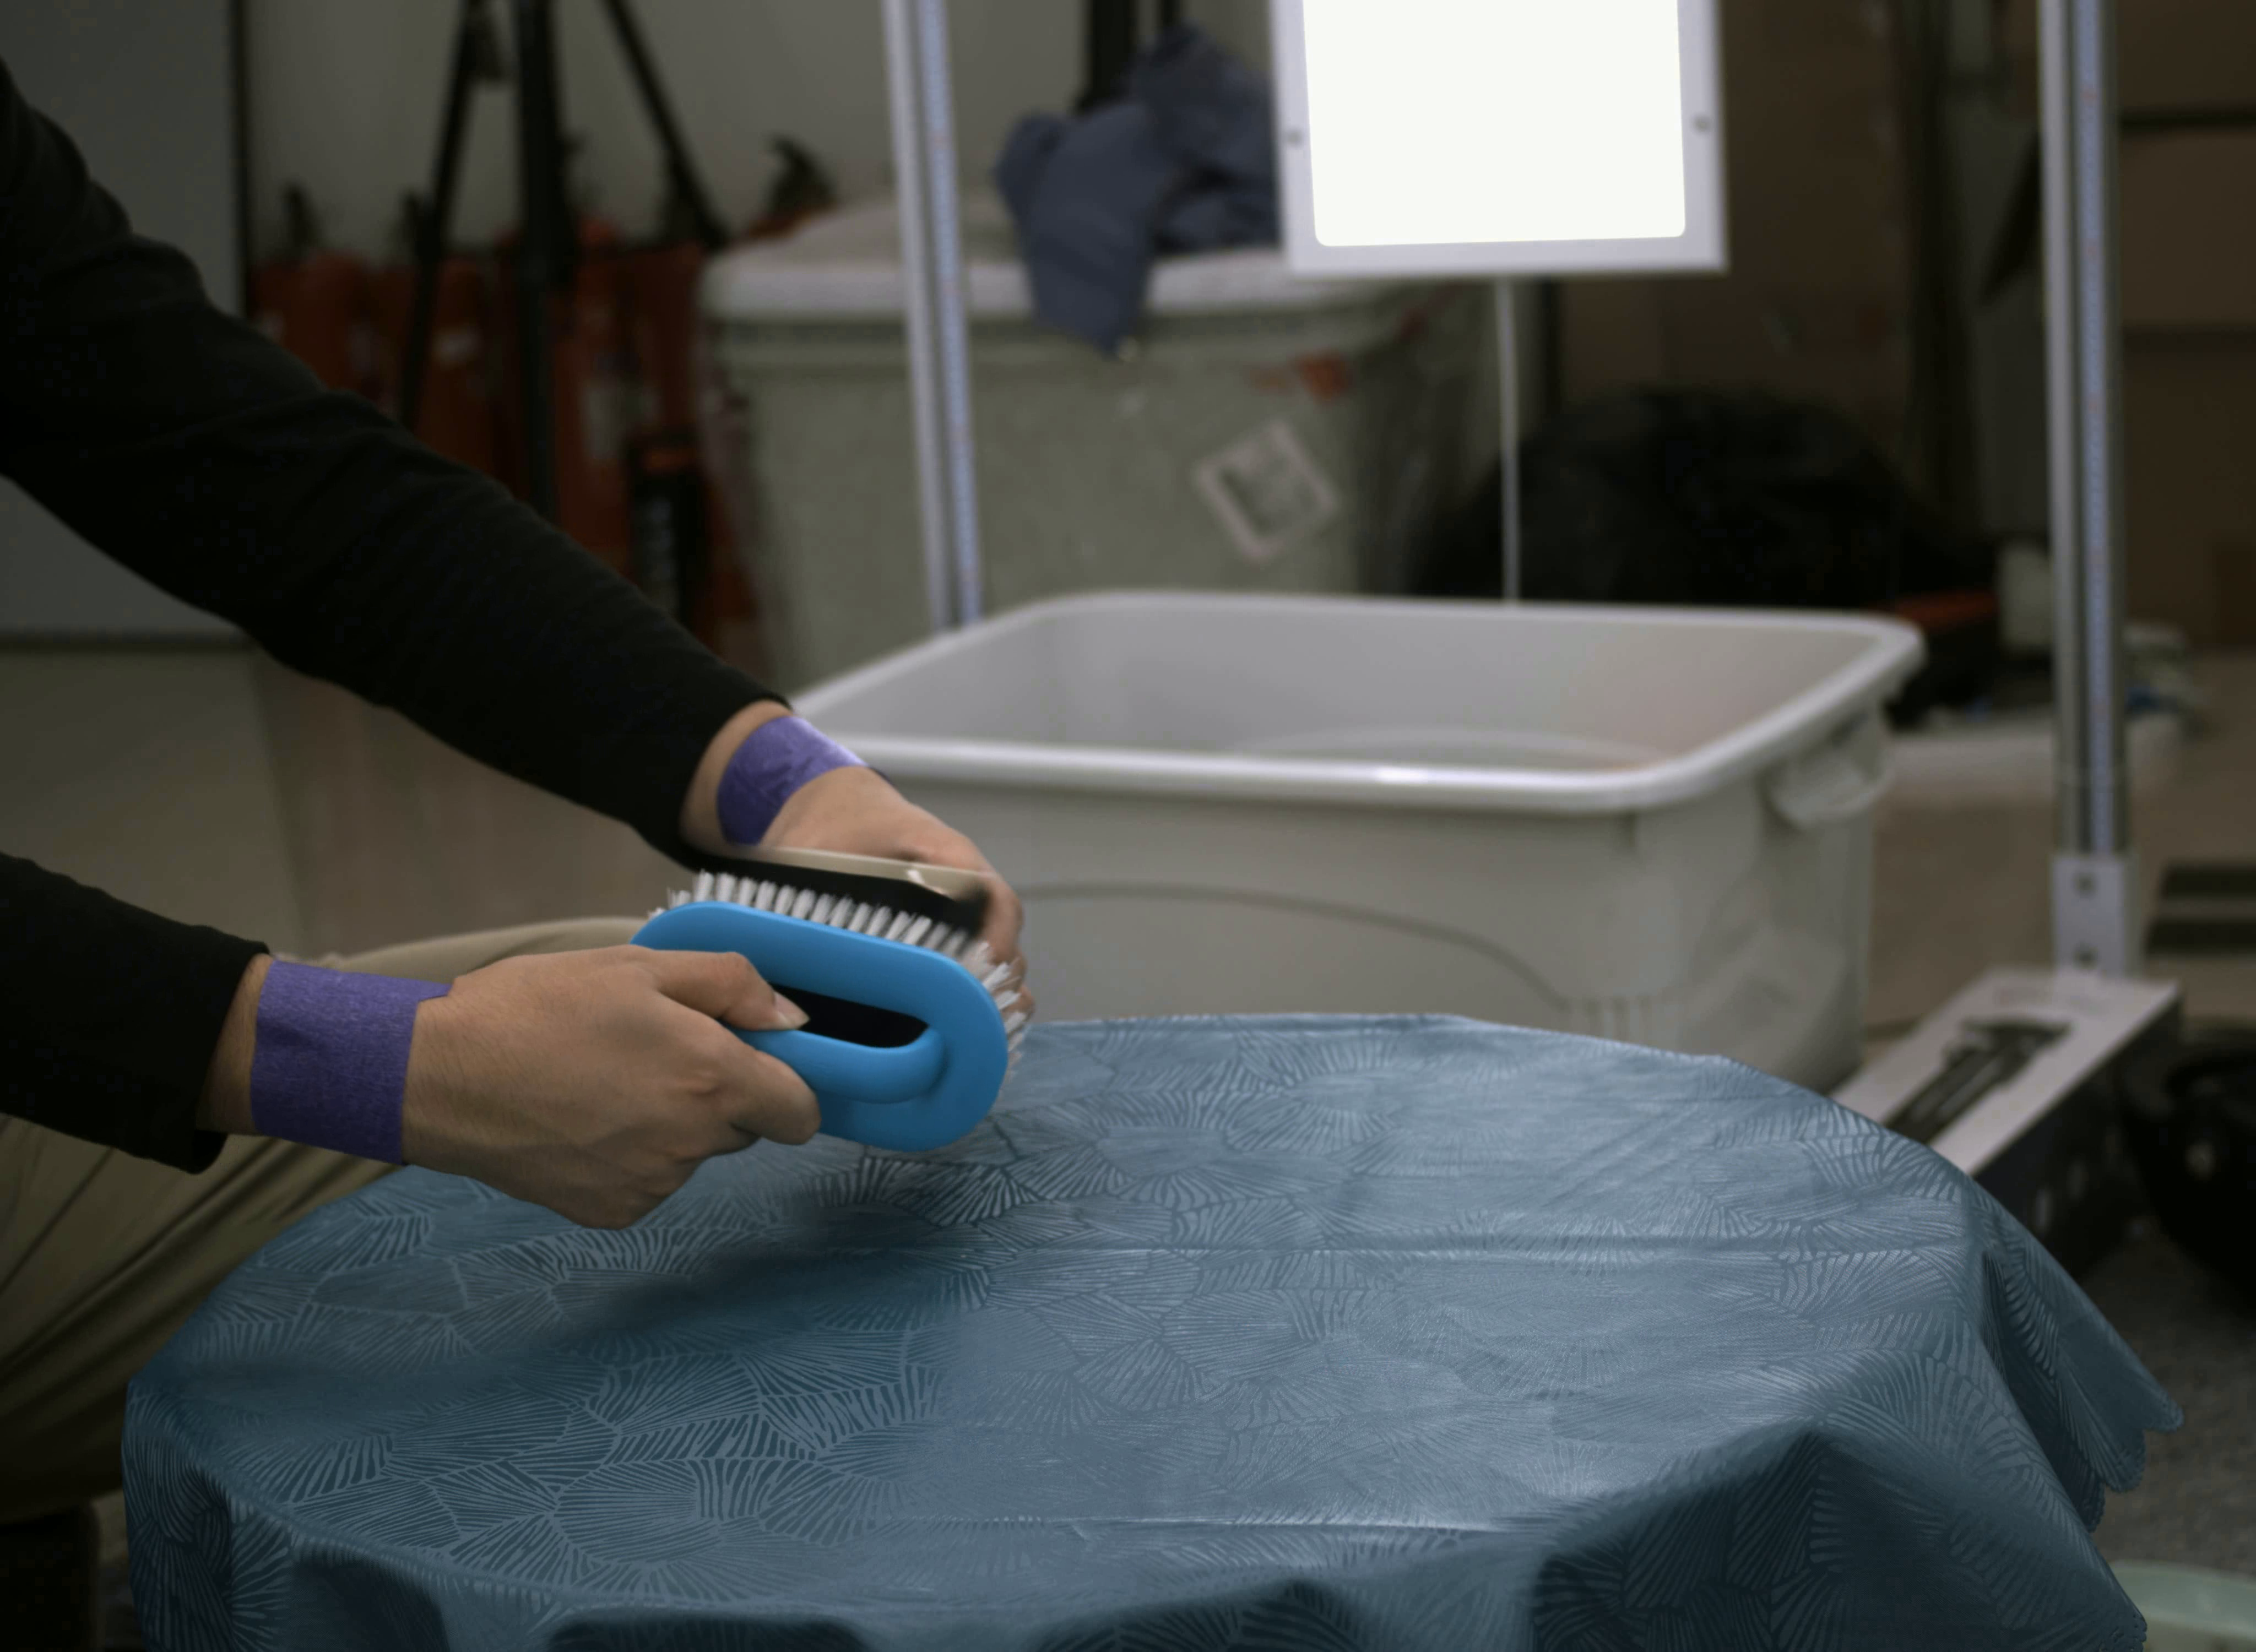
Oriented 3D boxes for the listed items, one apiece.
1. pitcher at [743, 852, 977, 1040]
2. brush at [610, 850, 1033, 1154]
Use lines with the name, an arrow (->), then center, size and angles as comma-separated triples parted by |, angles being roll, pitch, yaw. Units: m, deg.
pitcher -> -0.095, 0.046, 1.907 | 0.082, 0.071, 0.097 | 7, 5, -28
brush -> -0.107, 0.065, 1.842 | 0.142, 0.085, 0.063 | 15, 24, 9
